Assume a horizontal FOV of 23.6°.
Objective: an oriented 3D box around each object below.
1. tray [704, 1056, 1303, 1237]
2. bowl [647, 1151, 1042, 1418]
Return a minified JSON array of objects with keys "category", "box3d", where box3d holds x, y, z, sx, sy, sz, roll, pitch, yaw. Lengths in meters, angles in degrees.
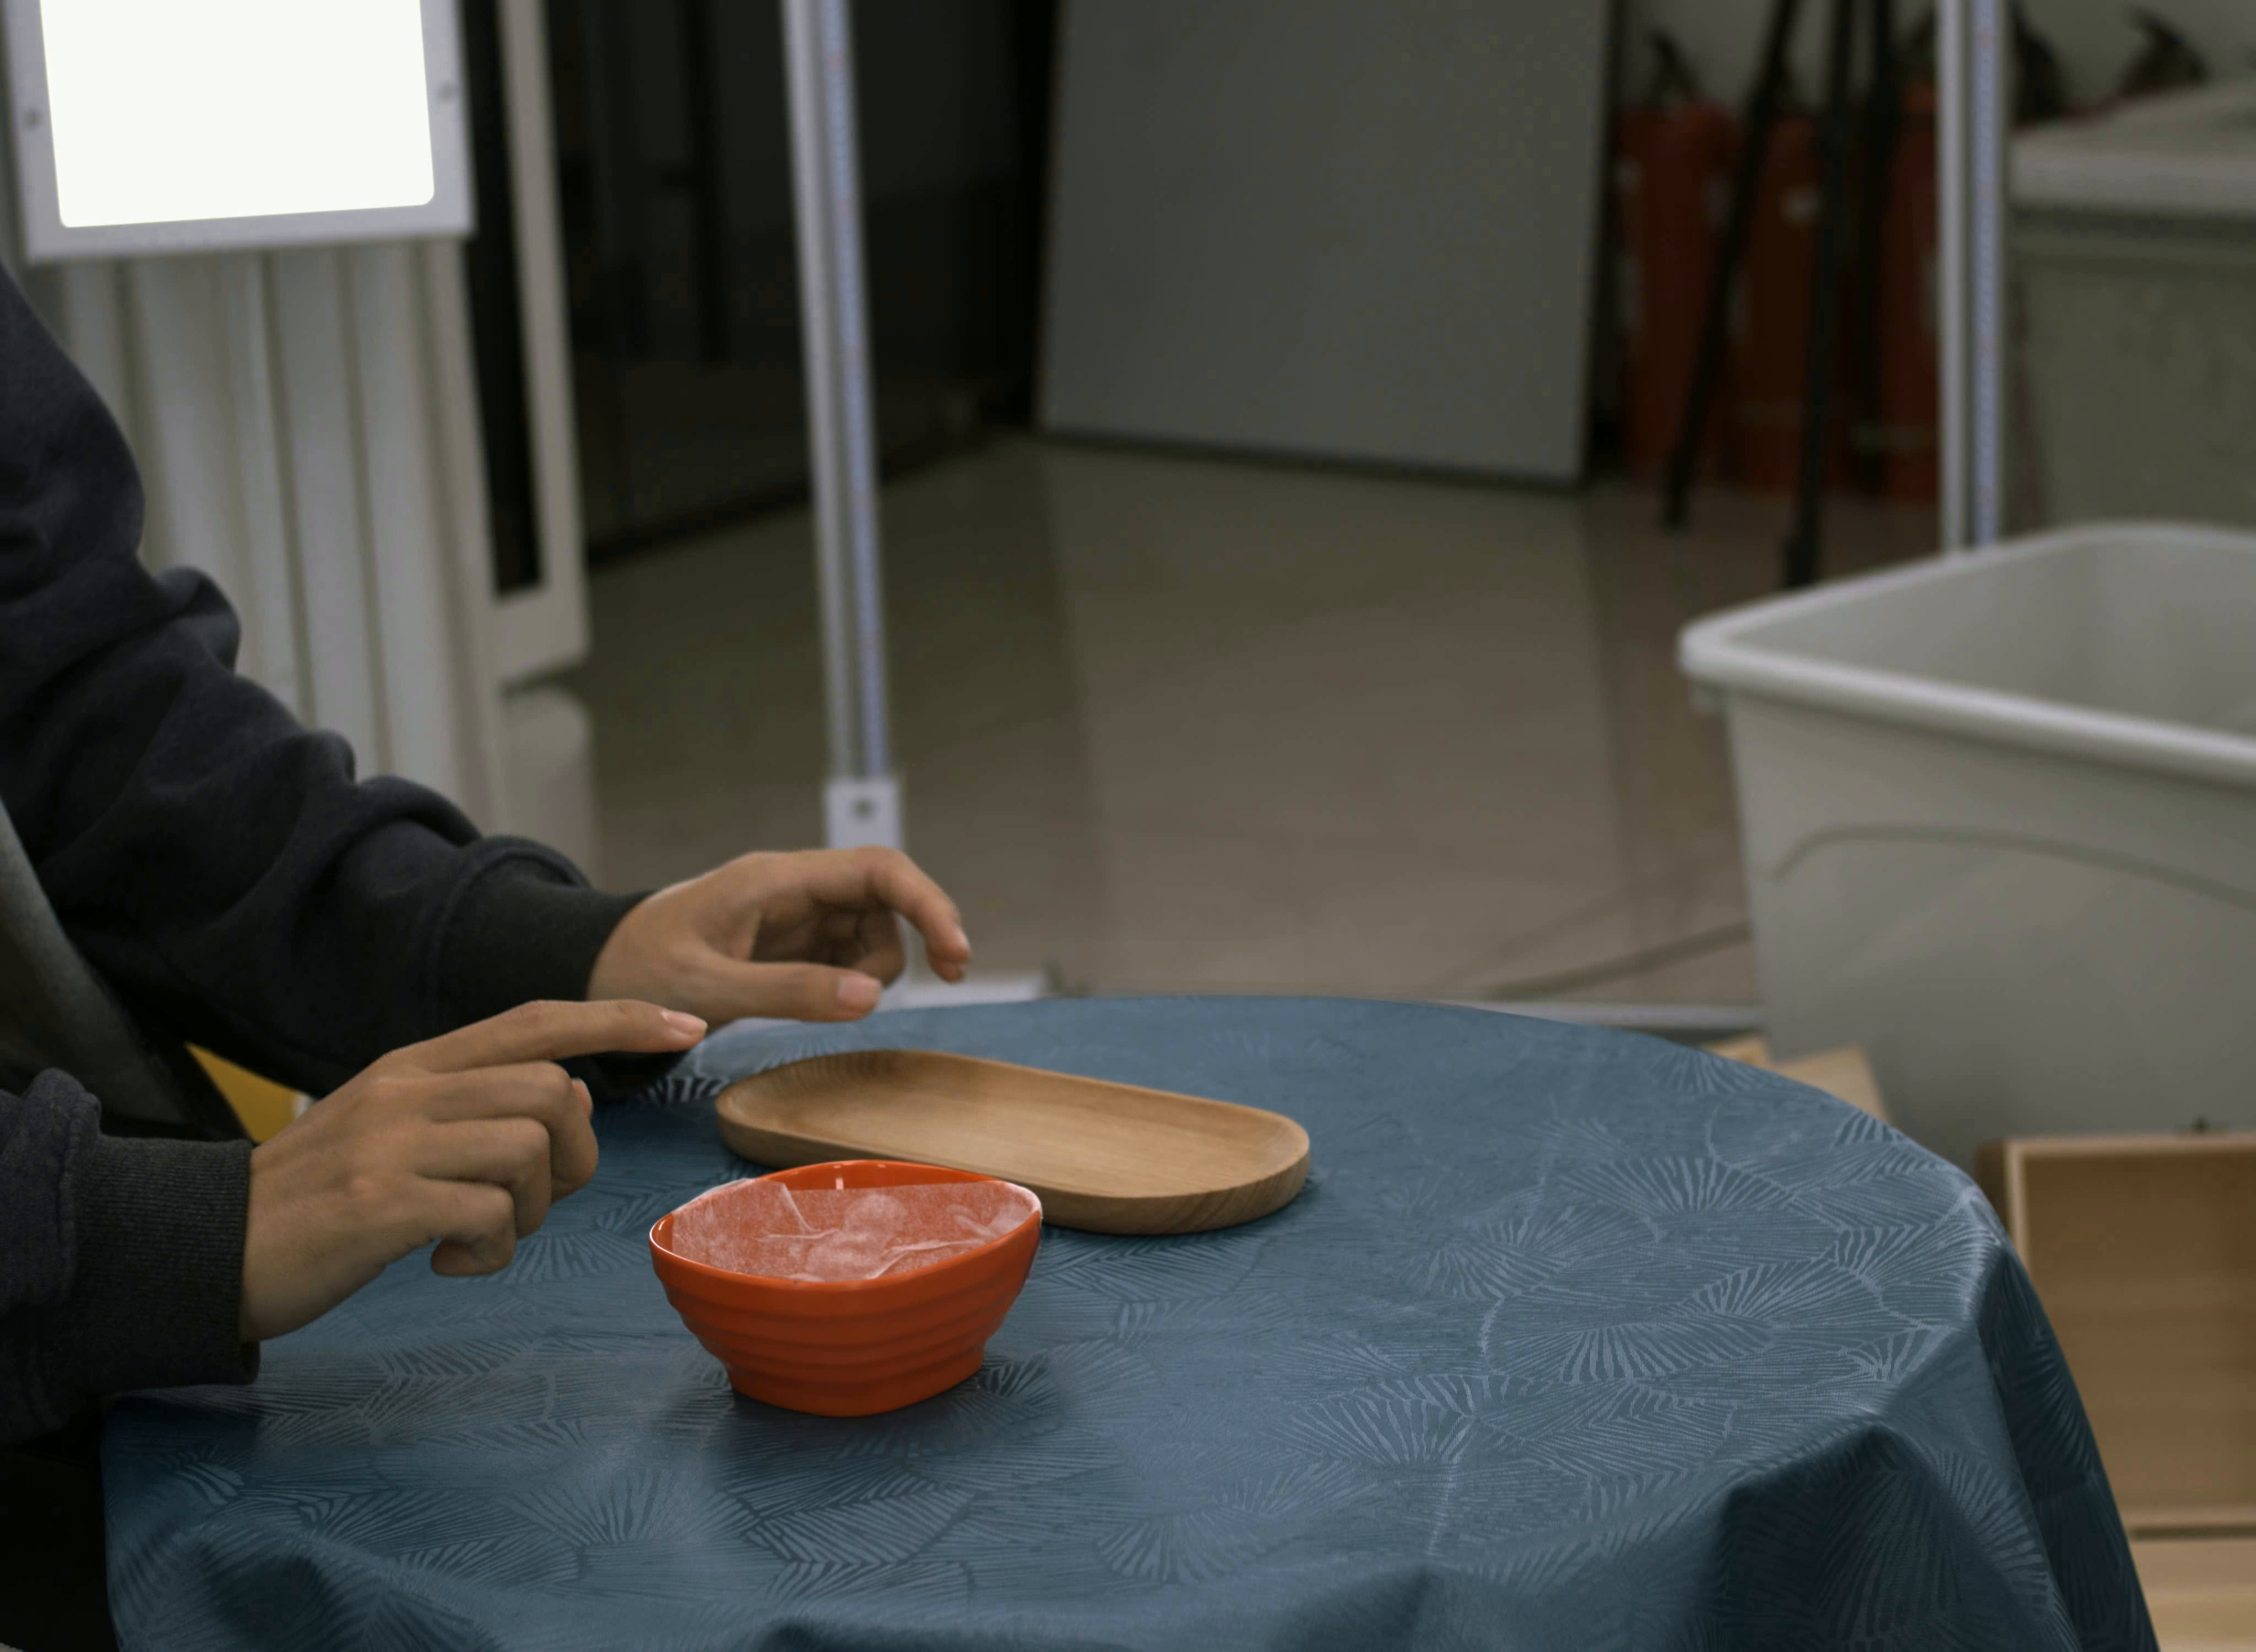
[{"category":"tray","box3d":[-0.043,0.107,1.807,0.233,0.020,0.100,6,16,38]},{"category":"bowl","box3d":[-0.083,0.138,1.607,0.117,0.052,0.119,-4,15,0]}]
